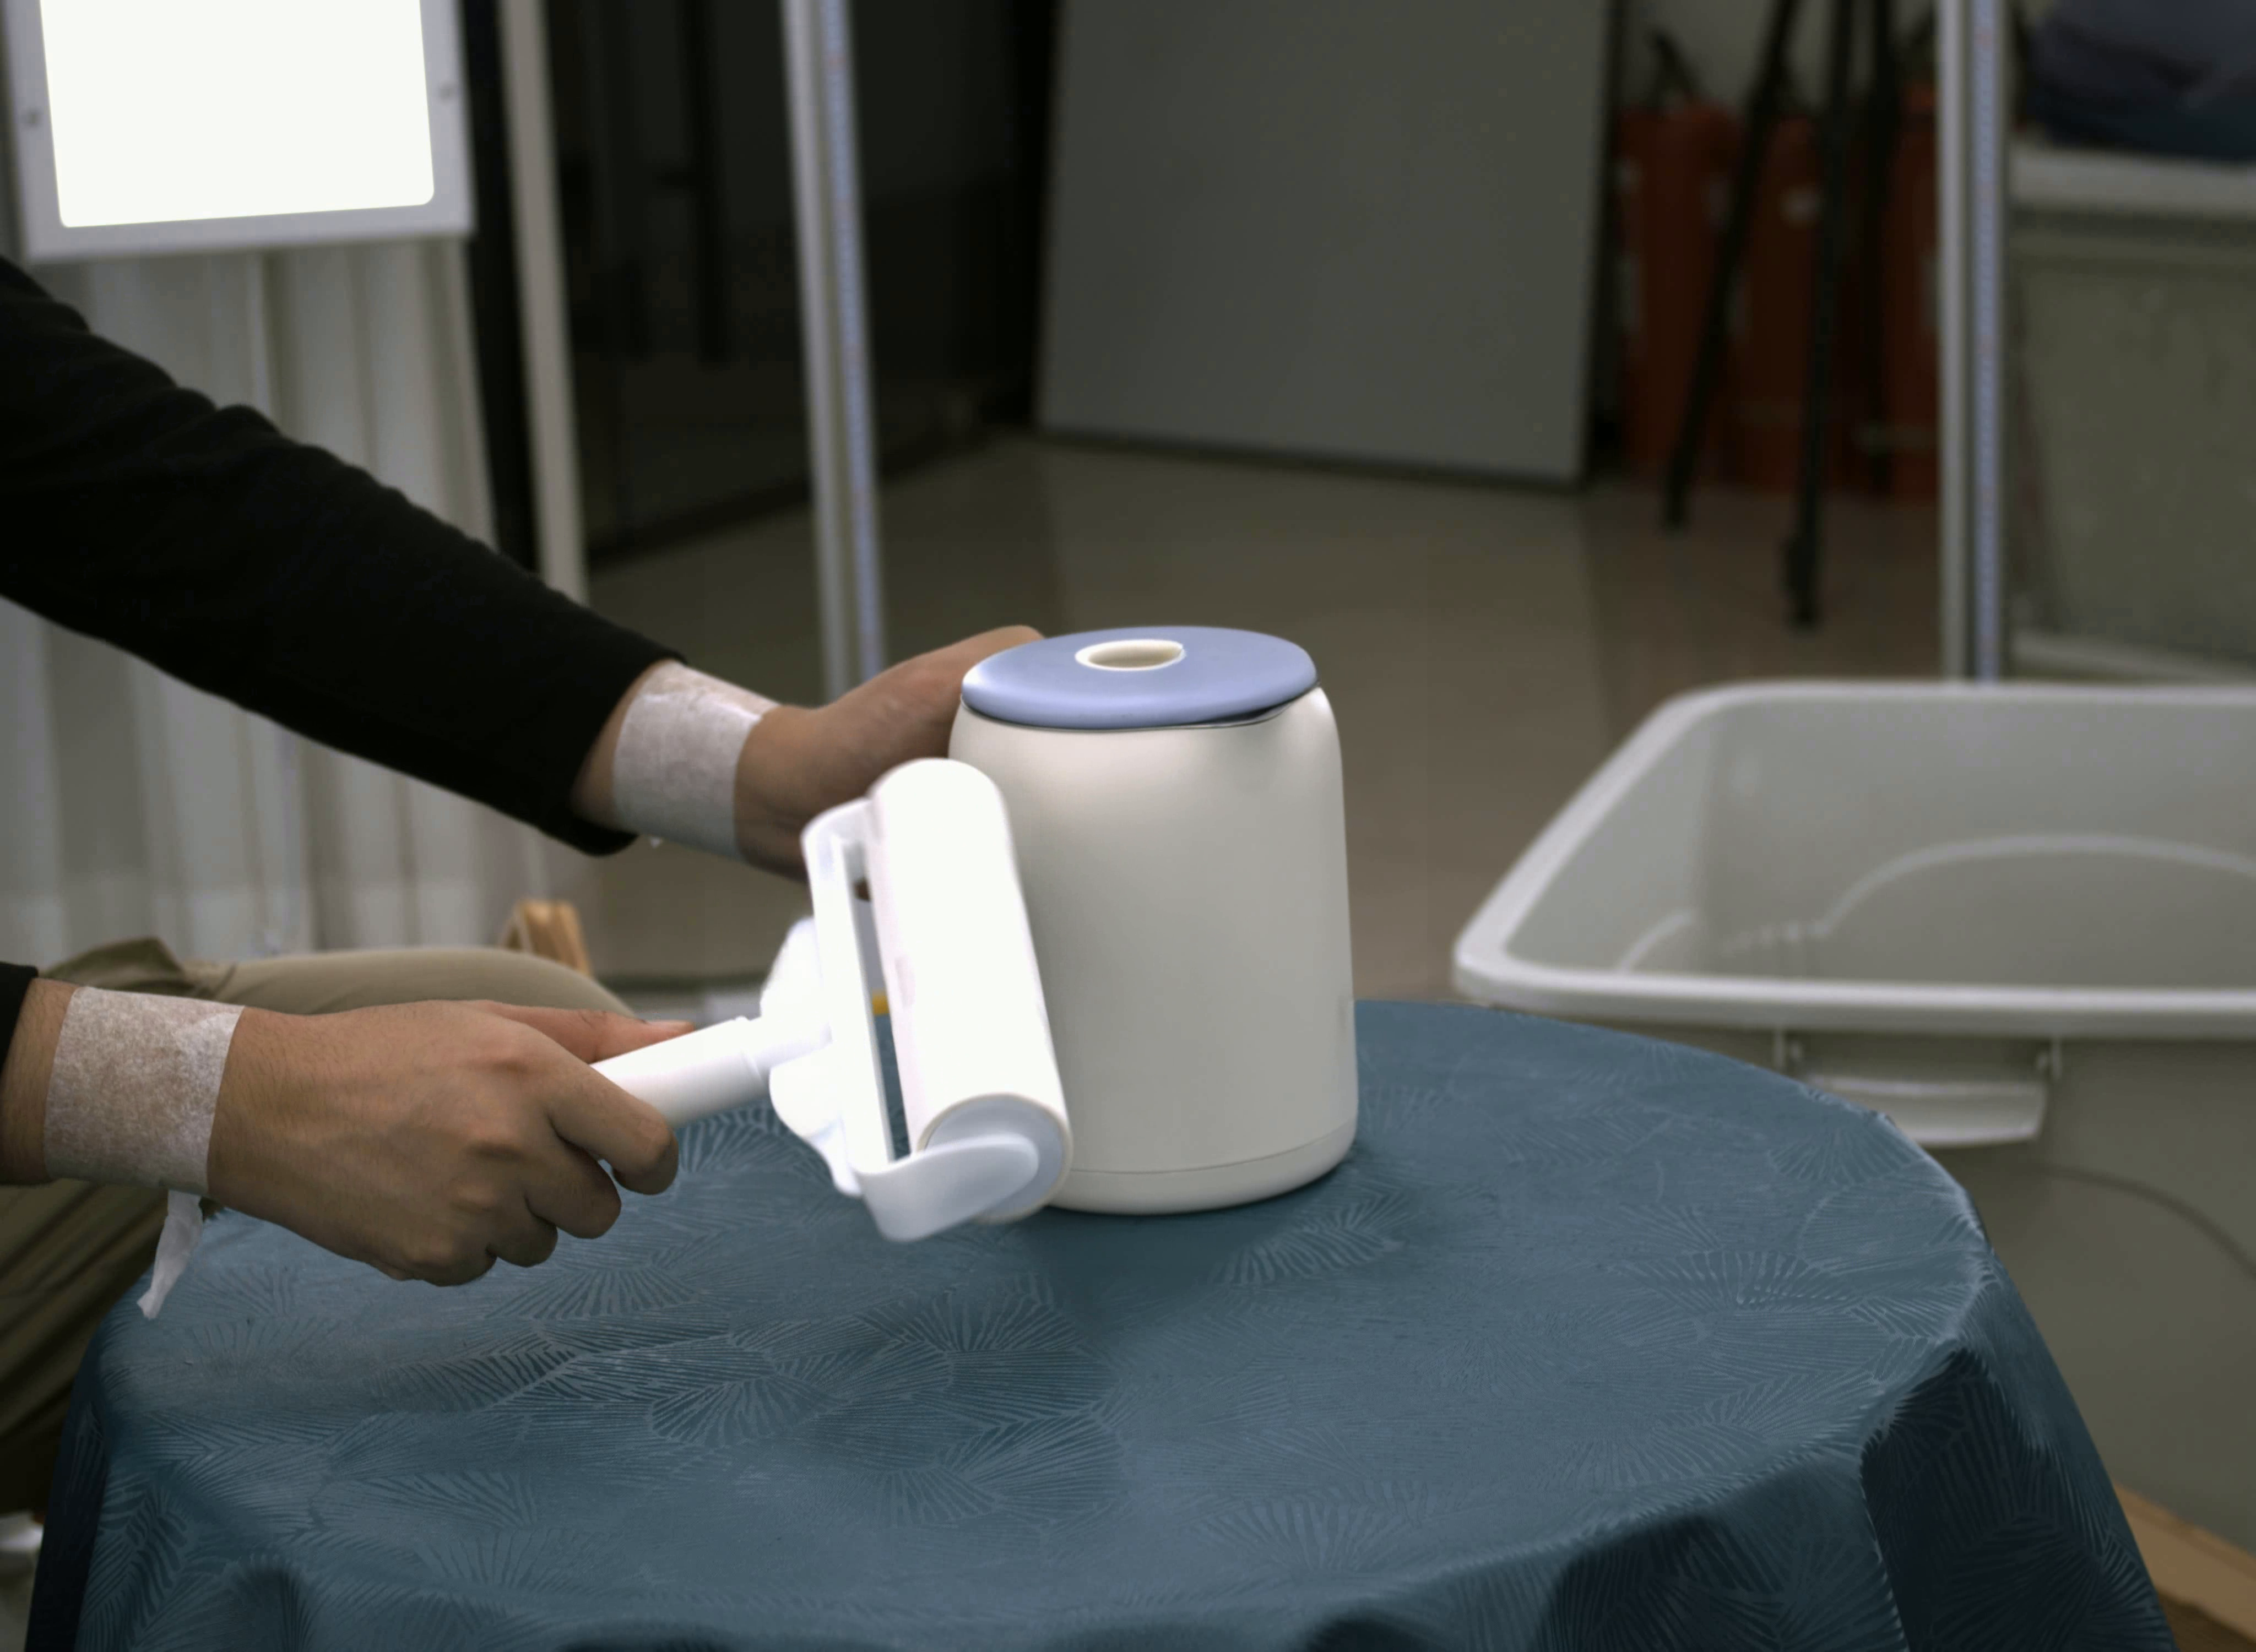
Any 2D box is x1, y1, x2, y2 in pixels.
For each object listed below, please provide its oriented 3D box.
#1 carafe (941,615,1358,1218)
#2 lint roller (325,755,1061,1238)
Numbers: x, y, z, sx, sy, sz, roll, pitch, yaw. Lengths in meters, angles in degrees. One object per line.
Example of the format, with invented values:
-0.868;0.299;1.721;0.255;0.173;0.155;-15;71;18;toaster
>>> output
-0.005;0.025;1.799;0.129;0.184;0.193;-11;13;-31;carafe
-0.139;0.072;1.633;0.223;0.048;0.204;-18;32;0;lint roller
